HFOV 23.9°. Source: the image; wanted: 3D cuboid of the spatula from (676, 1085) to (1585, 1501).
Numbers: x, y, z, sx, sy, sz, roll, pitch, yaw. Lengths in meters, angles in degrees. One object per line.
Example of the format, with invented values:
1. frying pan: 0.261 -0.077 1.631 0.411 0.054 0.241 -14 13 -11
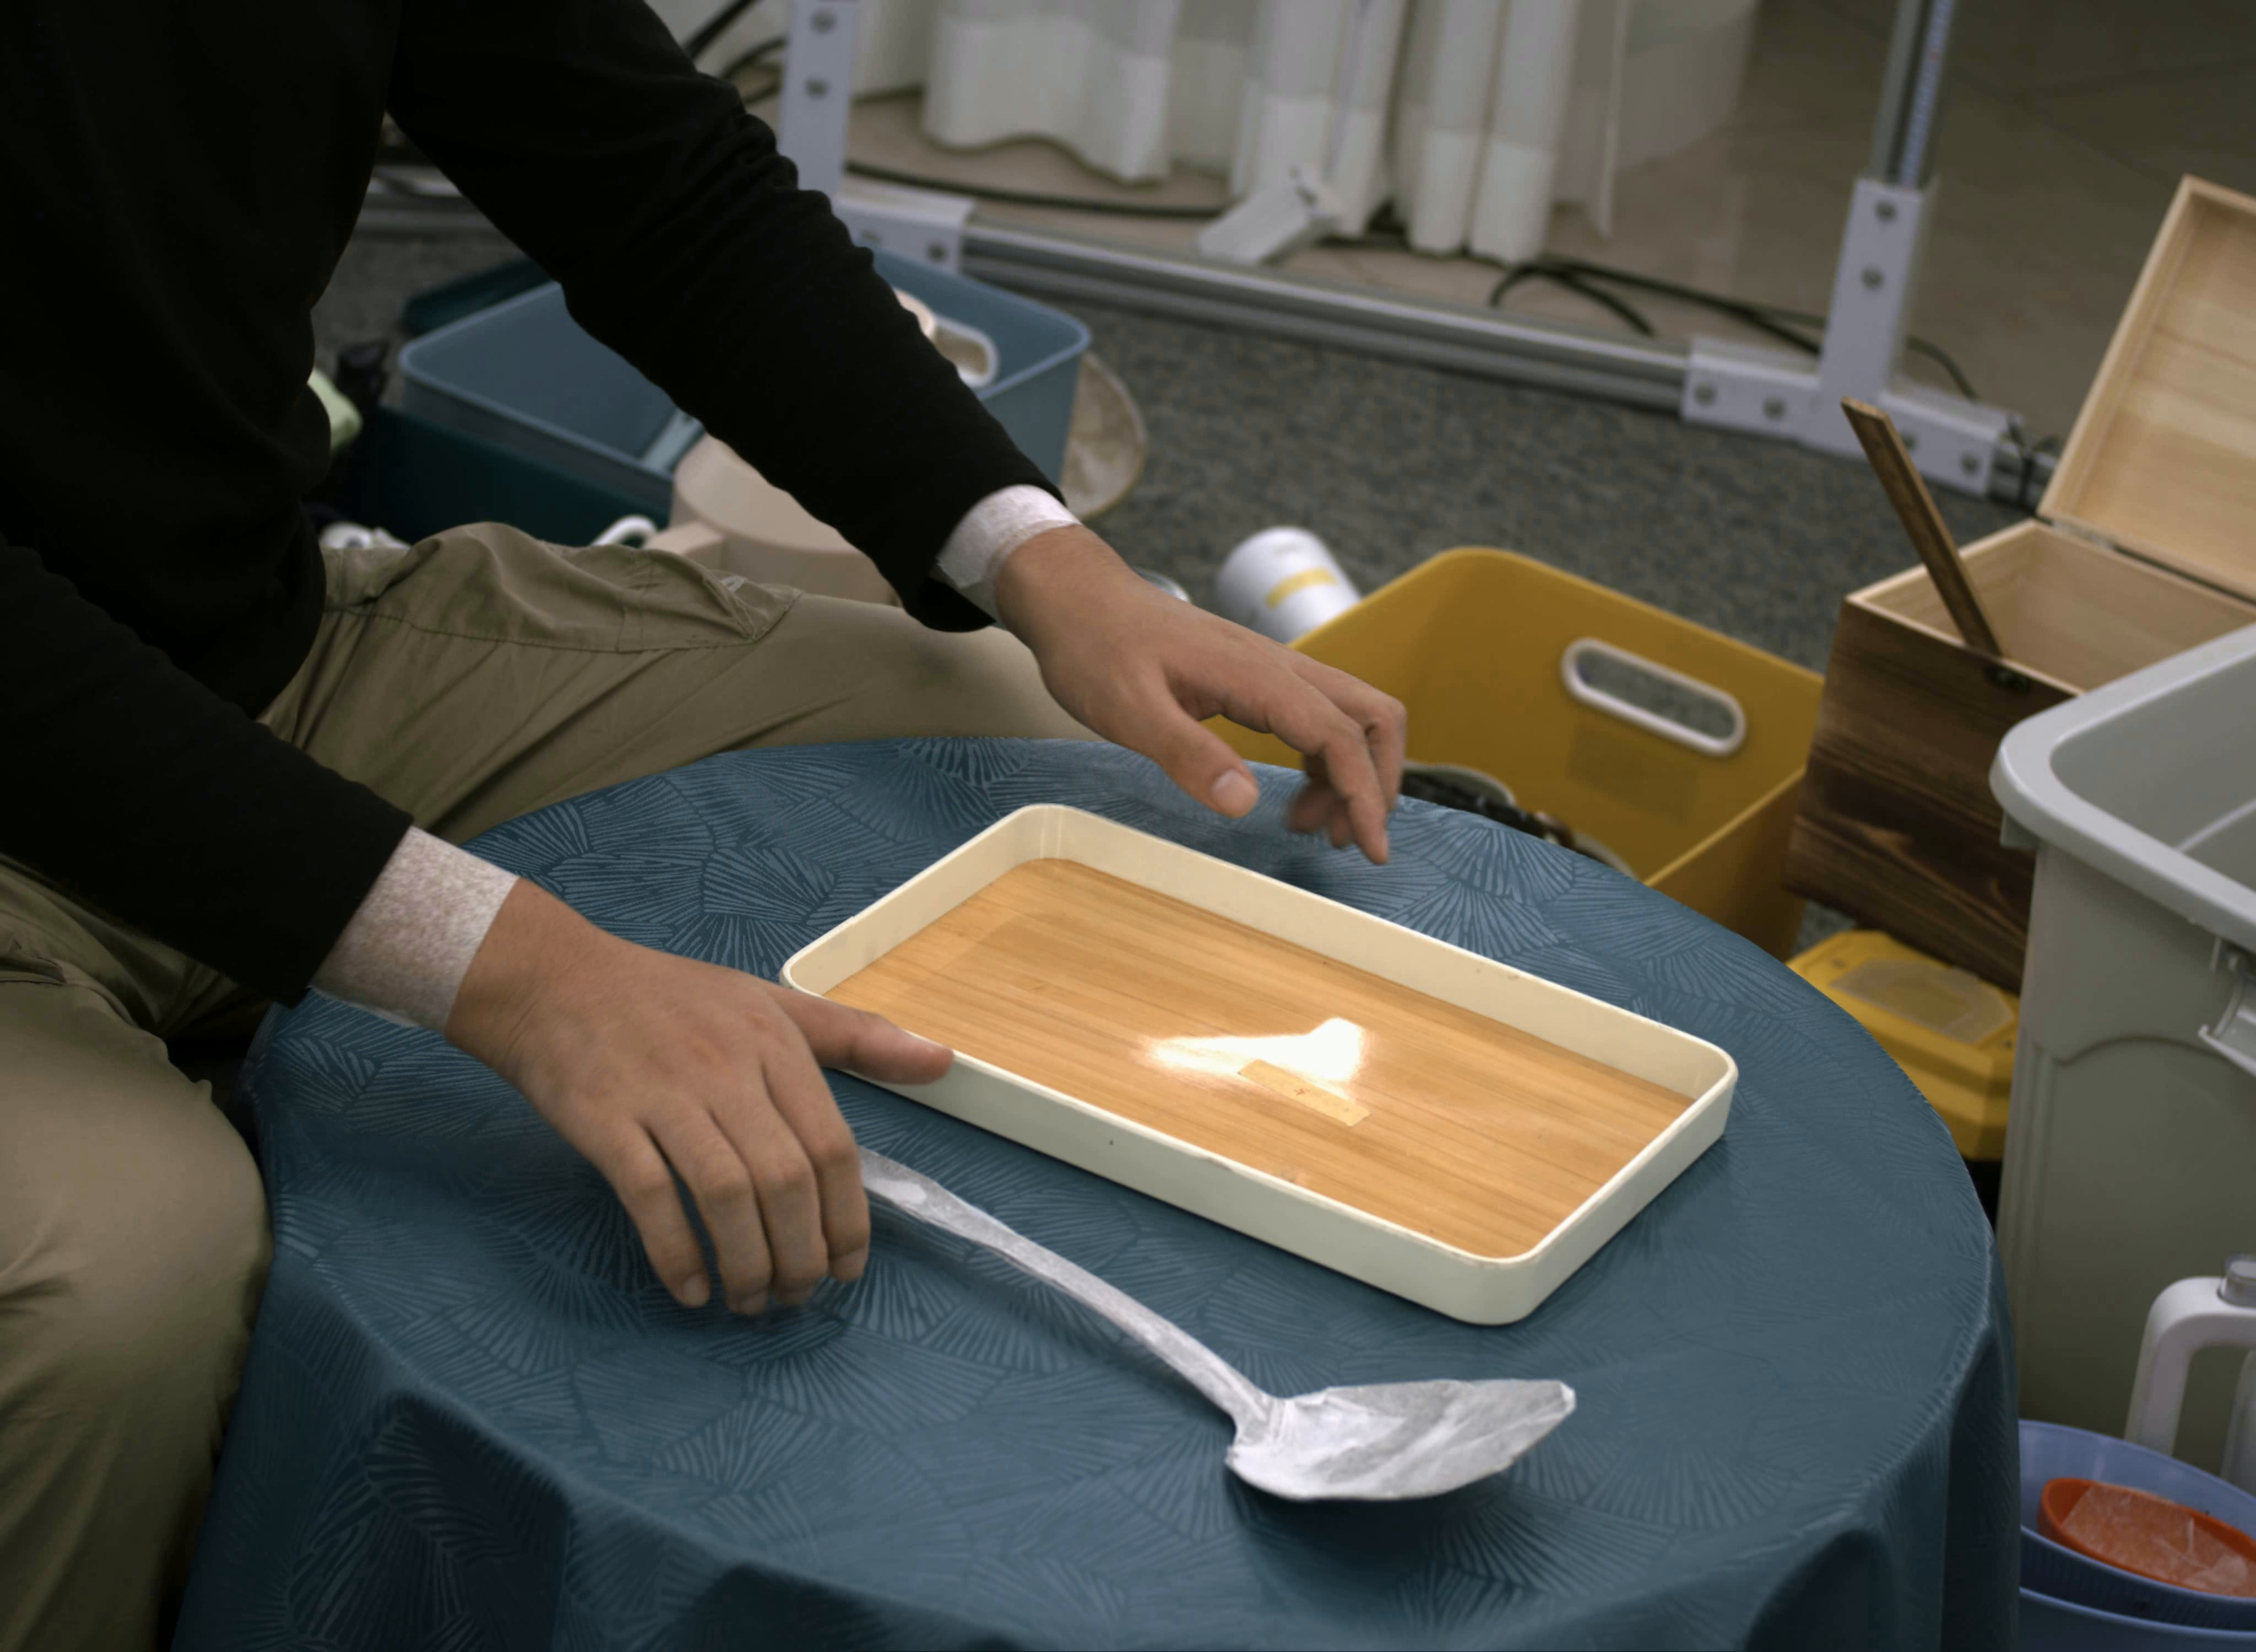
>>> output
1. spatula: -0.019 0.142 1.720 0.367 0.044 0.098 25 33 32

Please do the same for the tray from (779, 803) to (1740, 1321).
1. tray: 0.046 0.078 1.871 0.302 0.027 0.191 20 30 26
